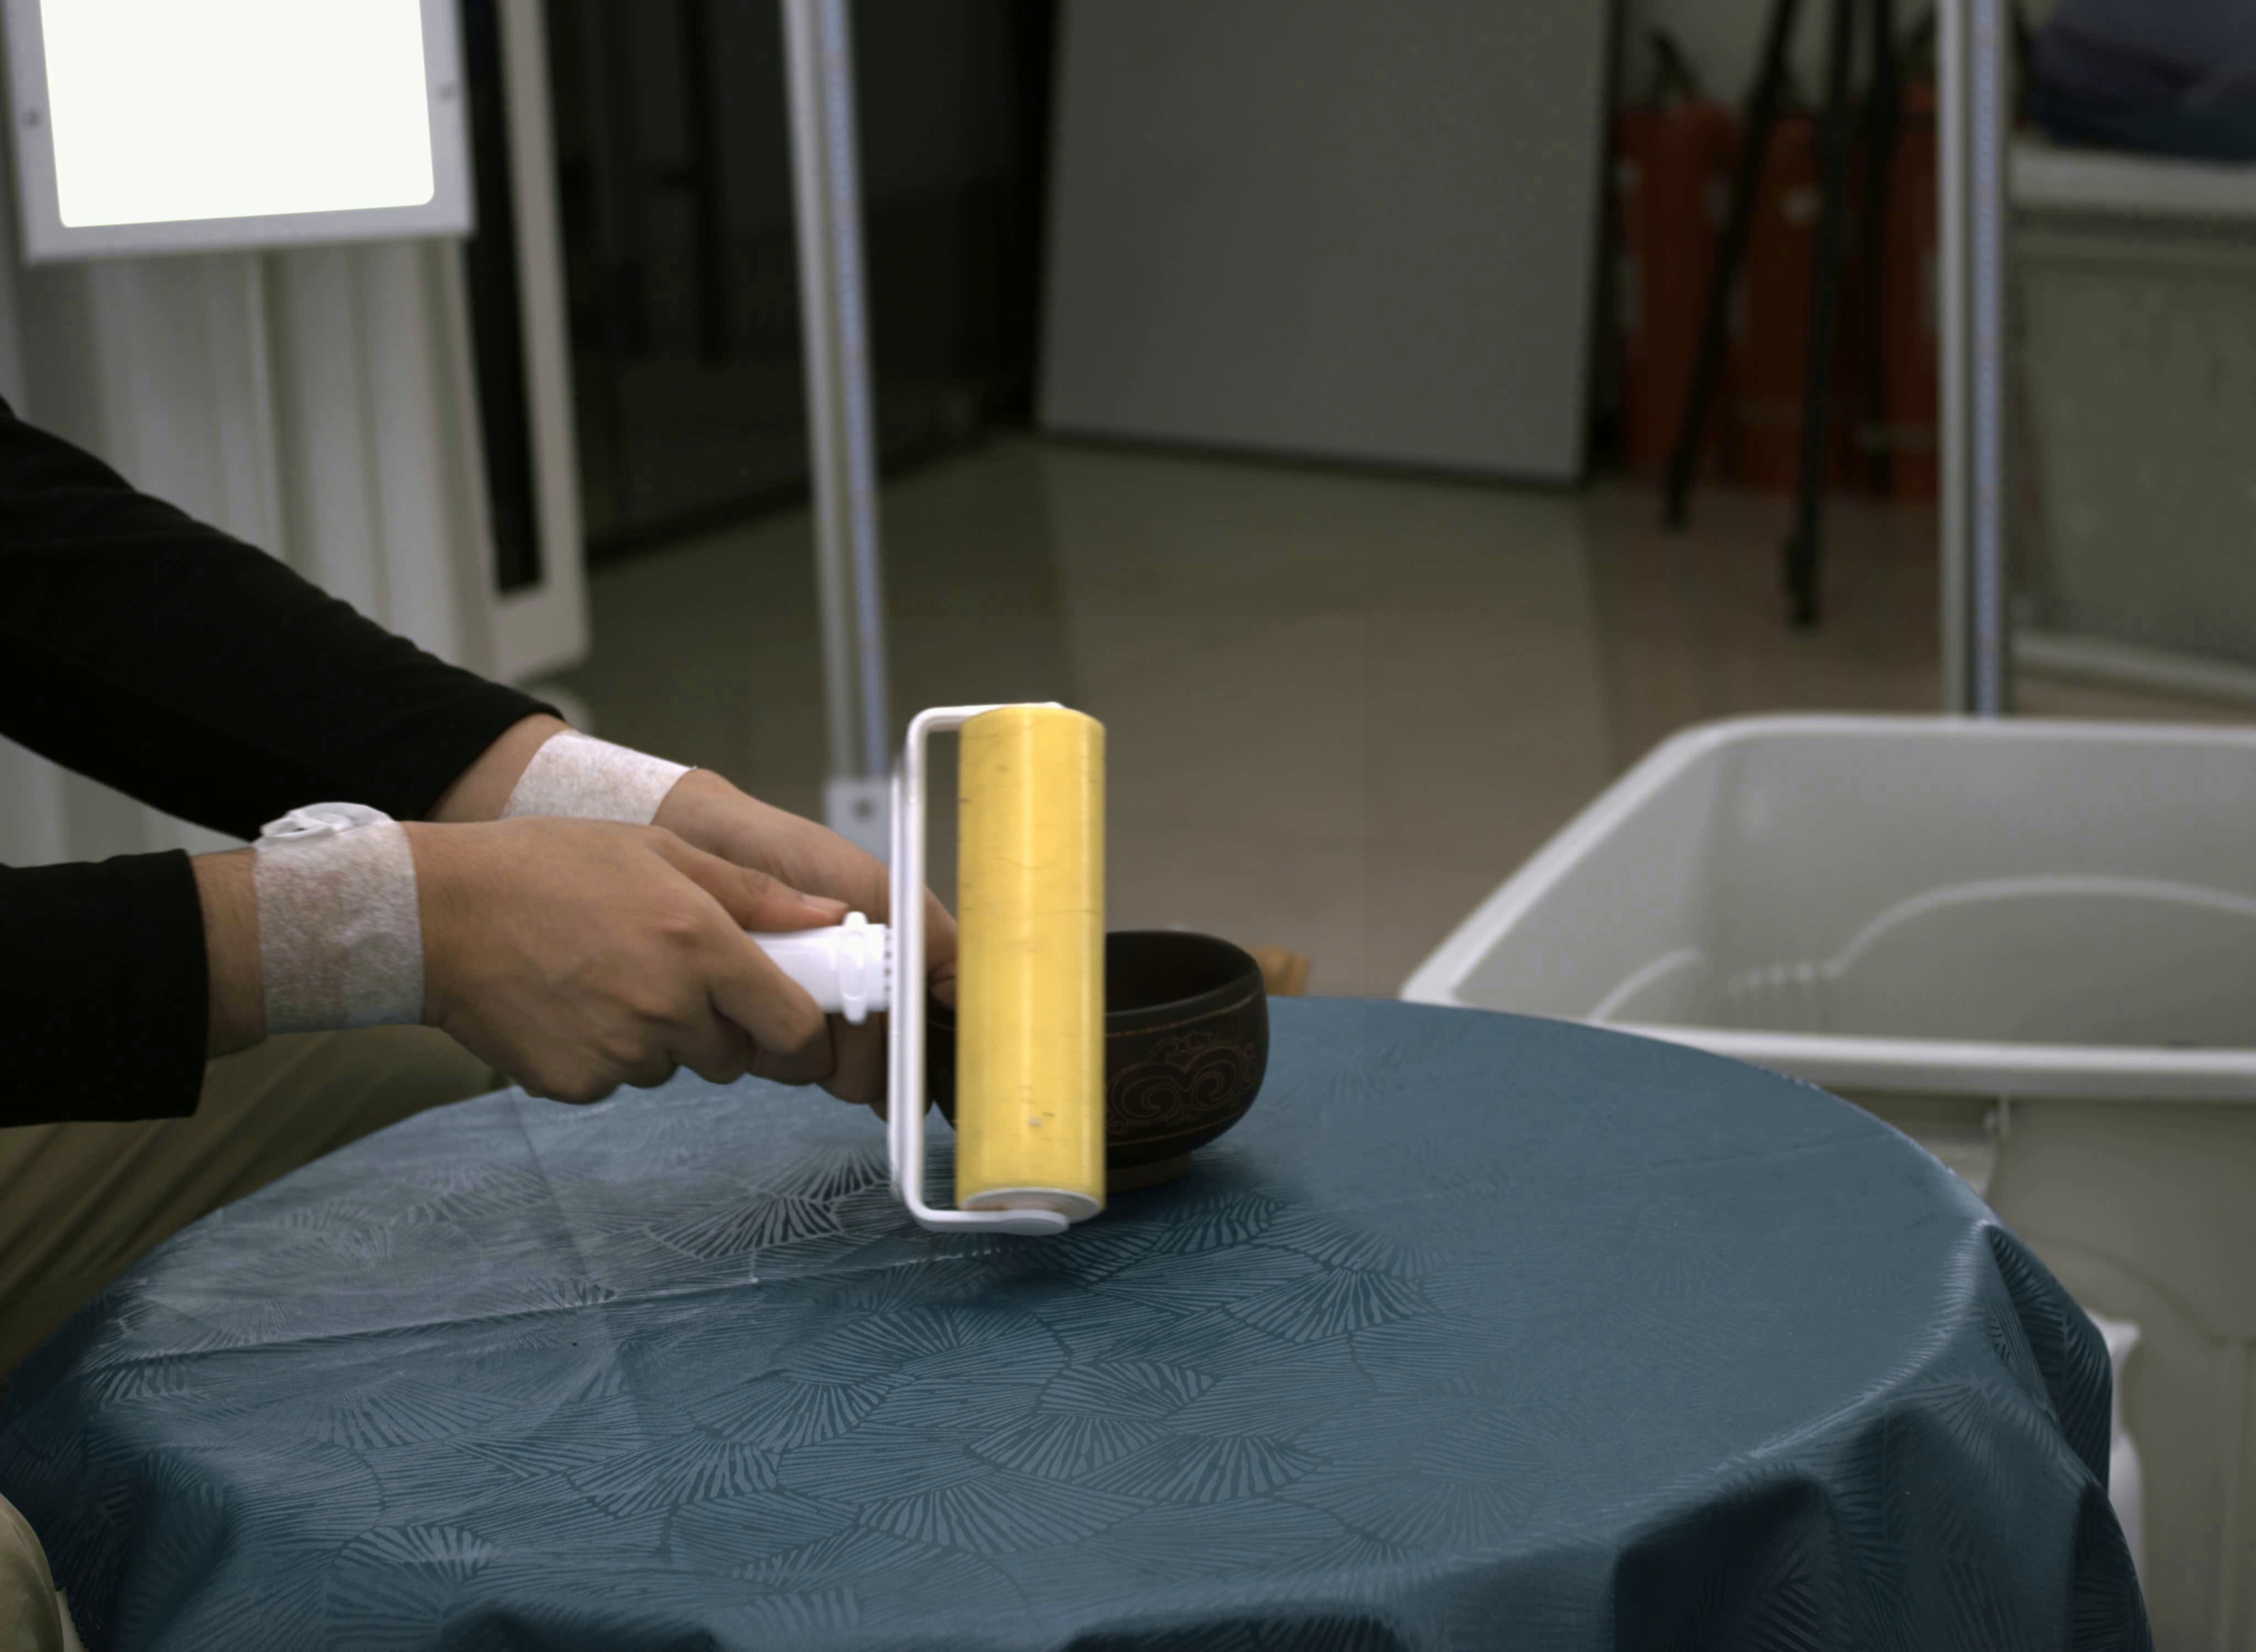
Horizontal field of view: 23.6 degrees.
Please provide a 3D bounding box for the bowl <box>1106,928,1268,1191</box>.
[{"bbox_3d":[-0.011,0.080,1.782,0.116,0.070,0.118,-6,11,0],"label":"bowl"}]

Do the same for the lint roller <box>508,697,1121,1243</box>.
[{"bbox_3d":[-0.099,0.045,1.703,0.189,0.176,0.051,0,-19,-6],"label":"lint roller"}]
